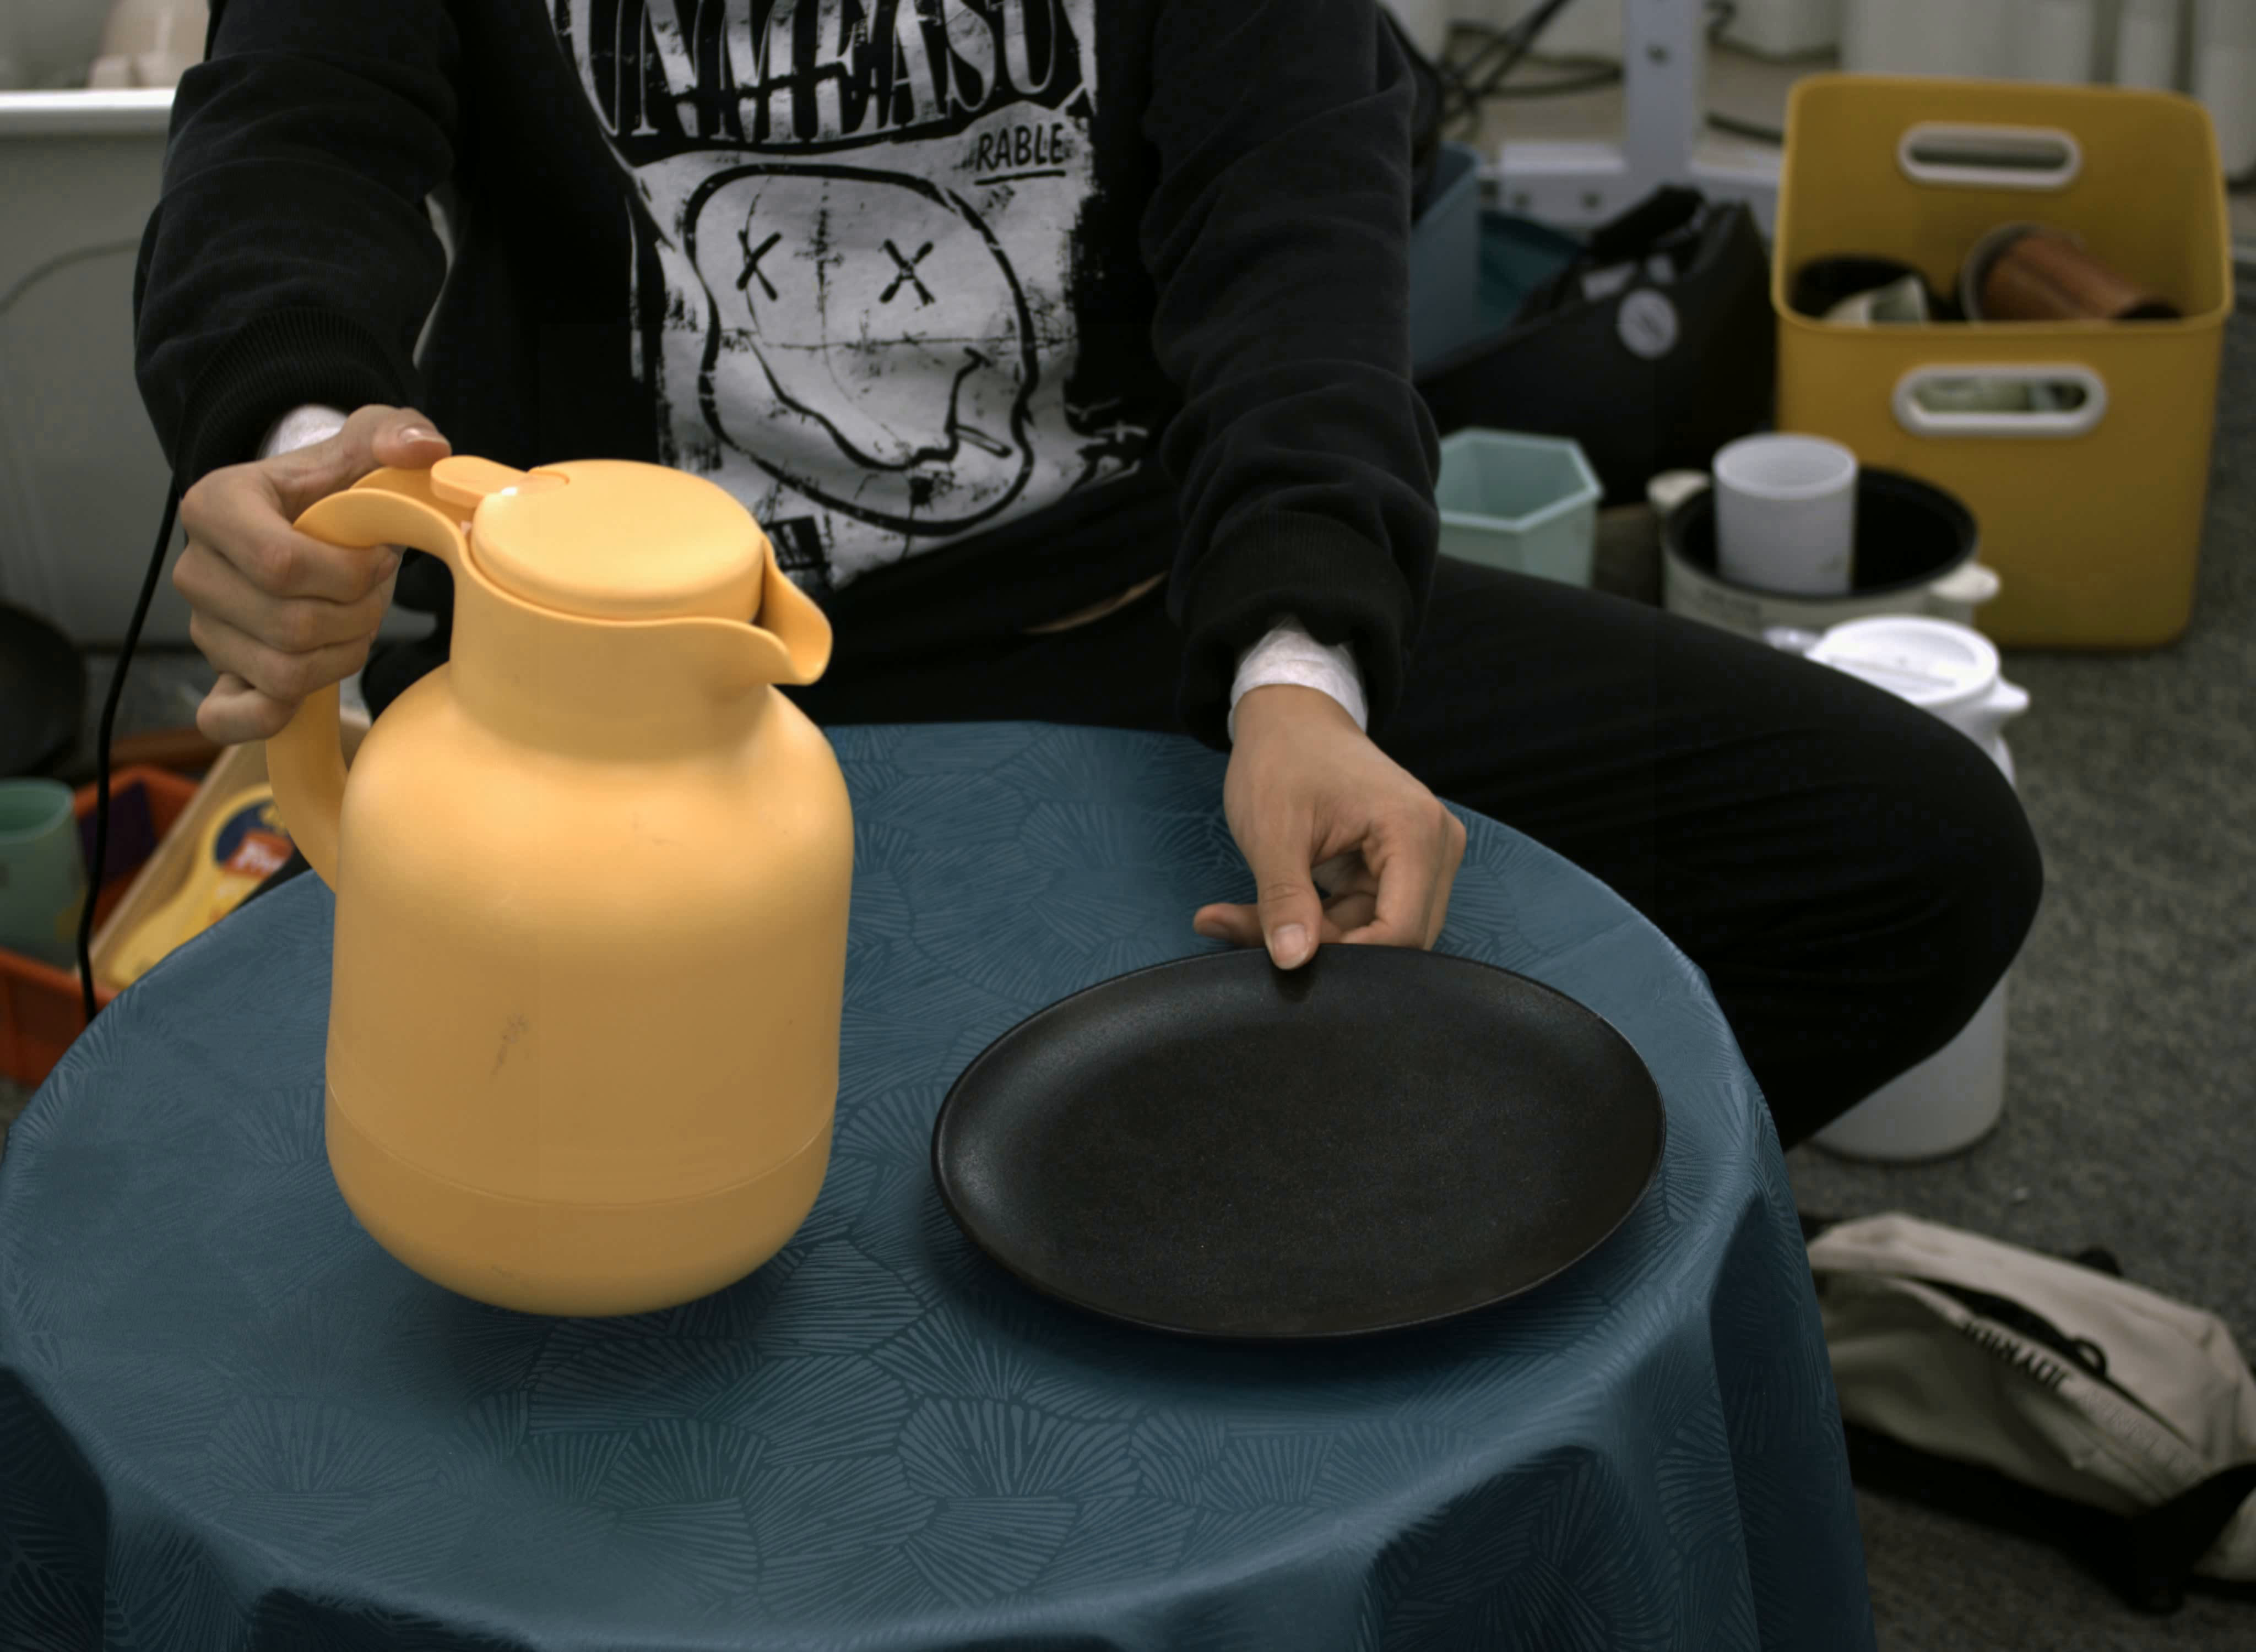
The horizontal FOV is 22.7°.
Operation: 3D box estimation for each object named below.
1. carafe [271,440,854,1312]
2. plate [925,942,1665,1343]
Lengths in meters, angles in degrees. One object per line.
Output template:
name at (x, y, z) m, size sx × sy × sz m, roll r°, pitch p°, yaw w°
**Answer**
carafe at (-0.183, 0.005, 1.766) m, size 0.202 × 0.257 × 0.166 m, roll 23°, pitch 30°, yaw 24°
plate at (0.055, 0.108, 1.850) m, size 0.243 × 0.023 × 0.248 m, roll -2°, pitch 28°, yaw 1°
